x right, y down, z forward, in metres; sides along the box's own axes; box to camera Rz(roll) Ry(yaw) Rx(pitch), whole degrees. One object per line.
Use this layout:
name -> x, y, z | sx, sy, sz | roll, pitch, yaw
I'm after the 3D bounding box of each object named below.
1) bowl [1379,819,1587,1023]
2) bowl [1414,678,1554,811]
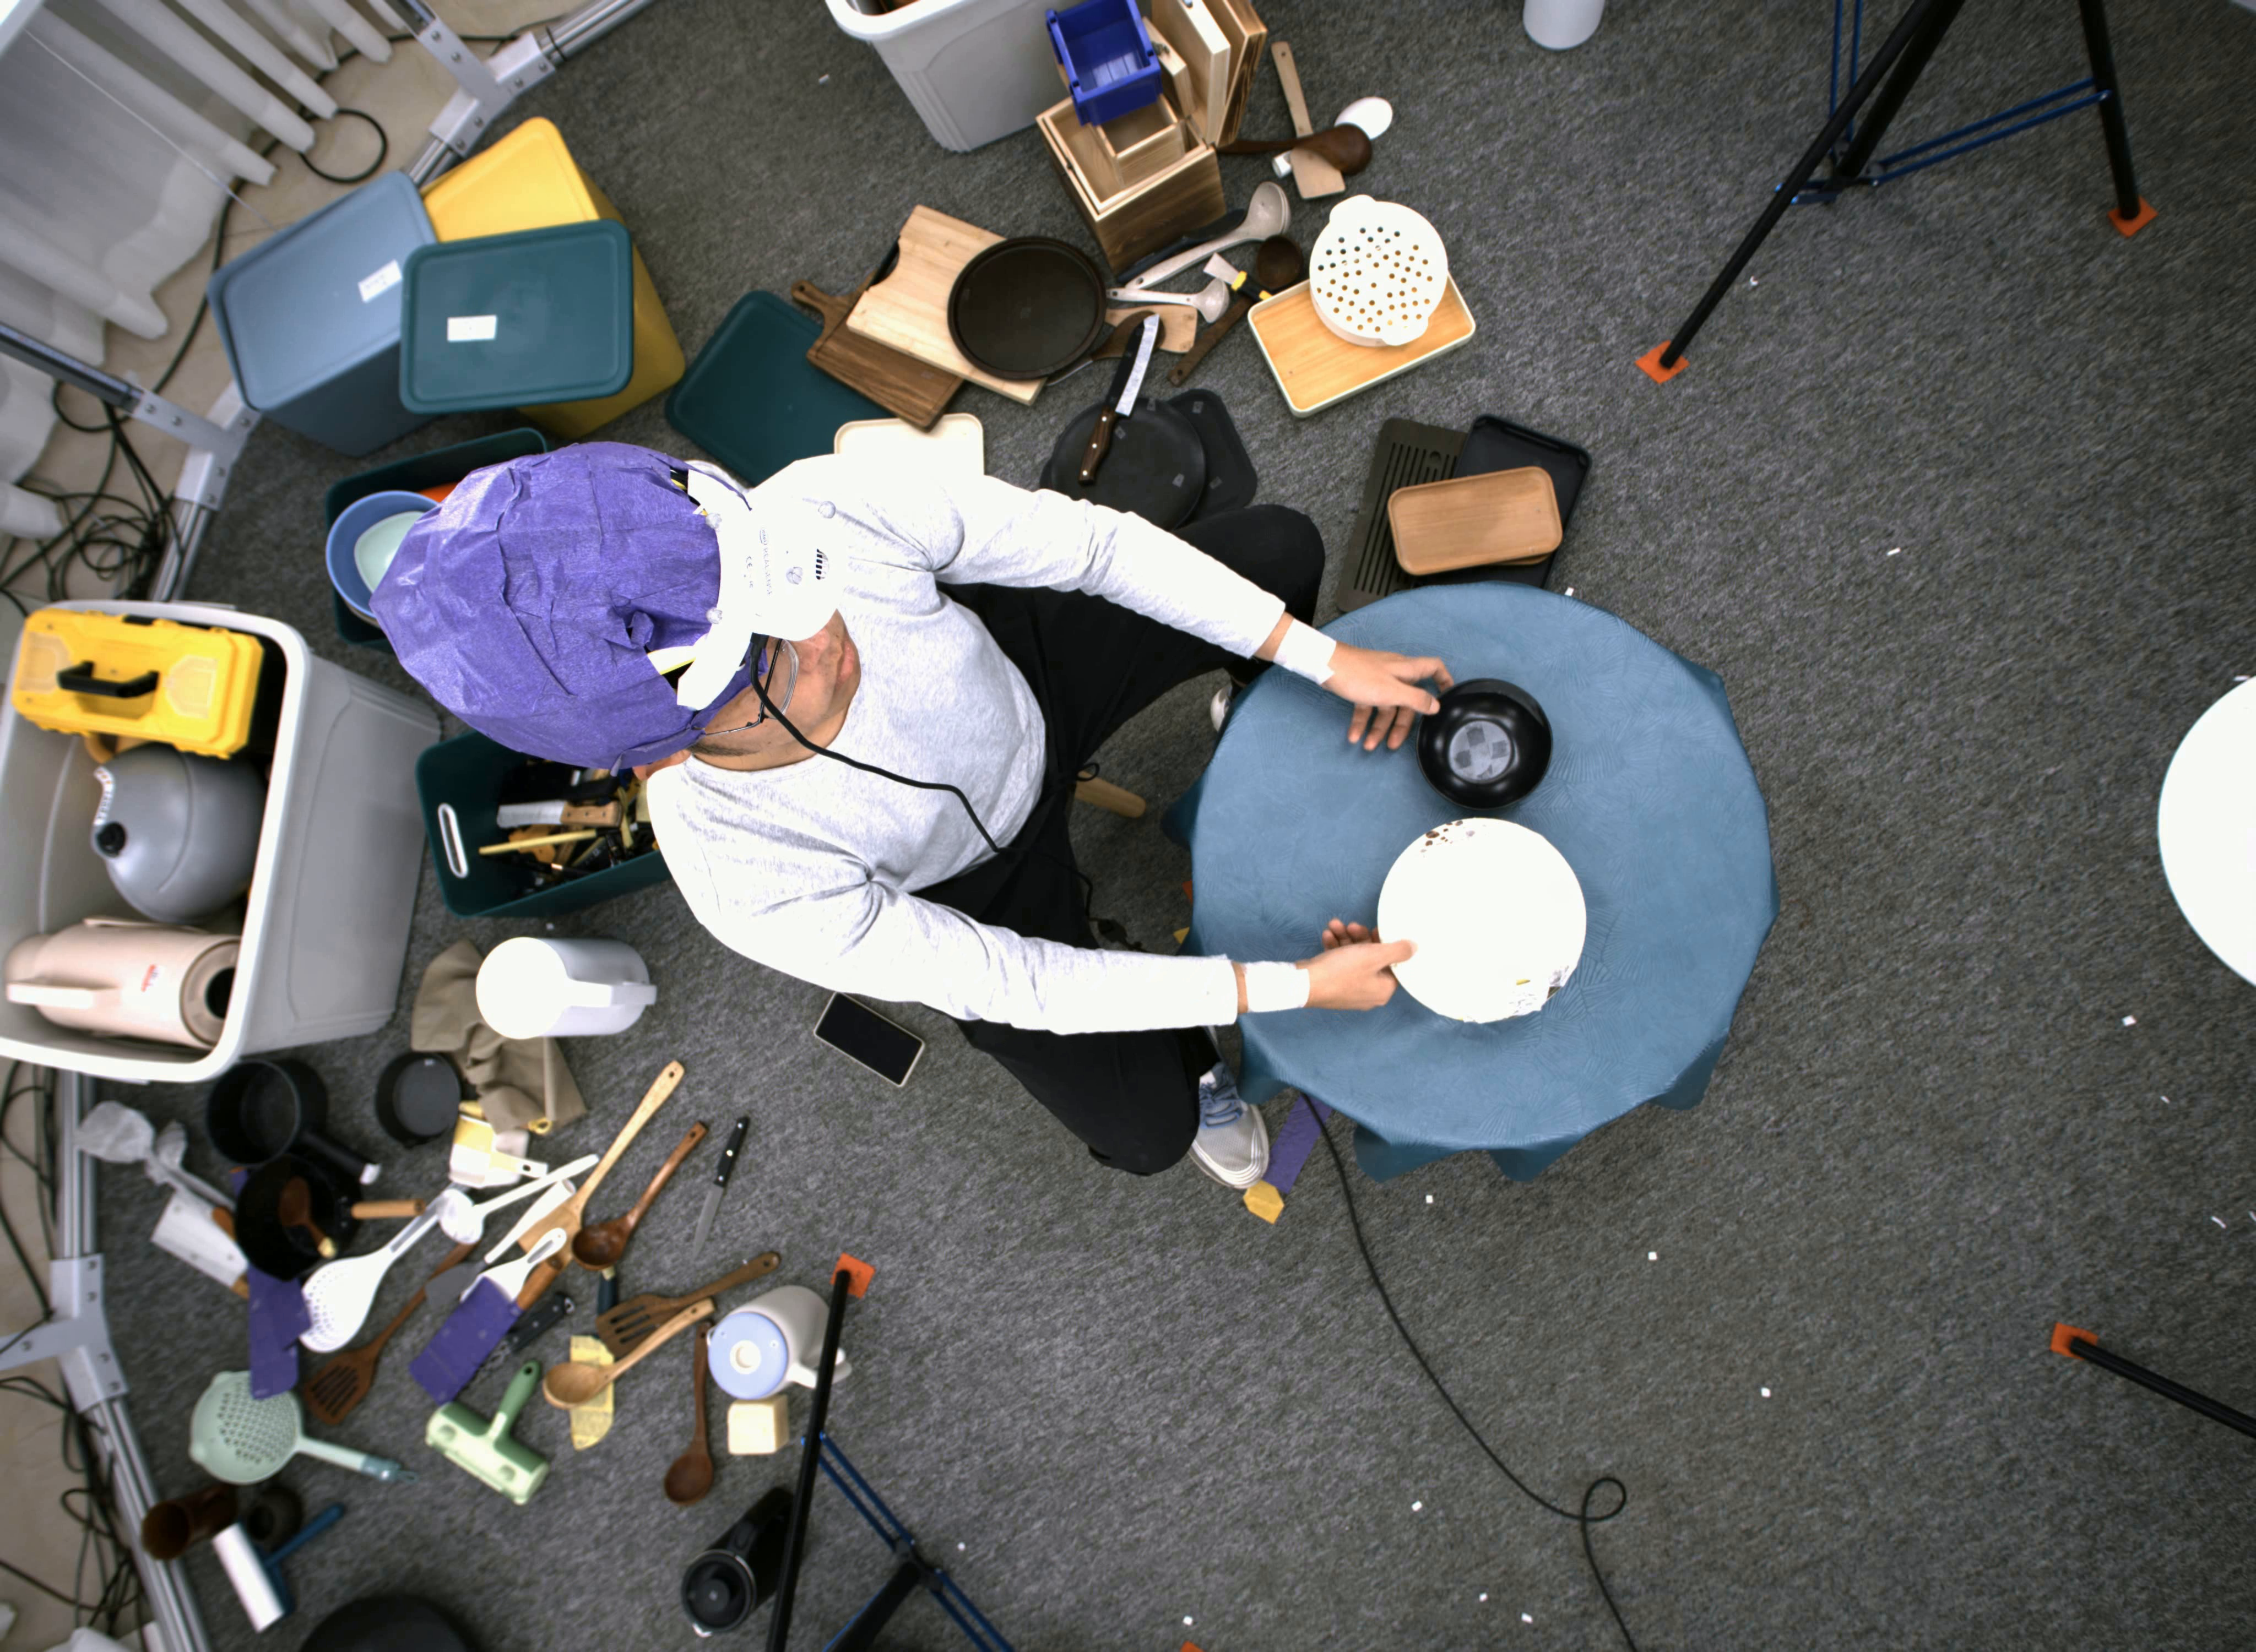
bowl -> 0.358, 0.096, 1.403 | 0.205, 0.078, 0.203 | -1, 85, 11
bowl -> 0.369, -0.083, 1.427 | 0.141, 0.050, 0.139 | -2, 84, 14
